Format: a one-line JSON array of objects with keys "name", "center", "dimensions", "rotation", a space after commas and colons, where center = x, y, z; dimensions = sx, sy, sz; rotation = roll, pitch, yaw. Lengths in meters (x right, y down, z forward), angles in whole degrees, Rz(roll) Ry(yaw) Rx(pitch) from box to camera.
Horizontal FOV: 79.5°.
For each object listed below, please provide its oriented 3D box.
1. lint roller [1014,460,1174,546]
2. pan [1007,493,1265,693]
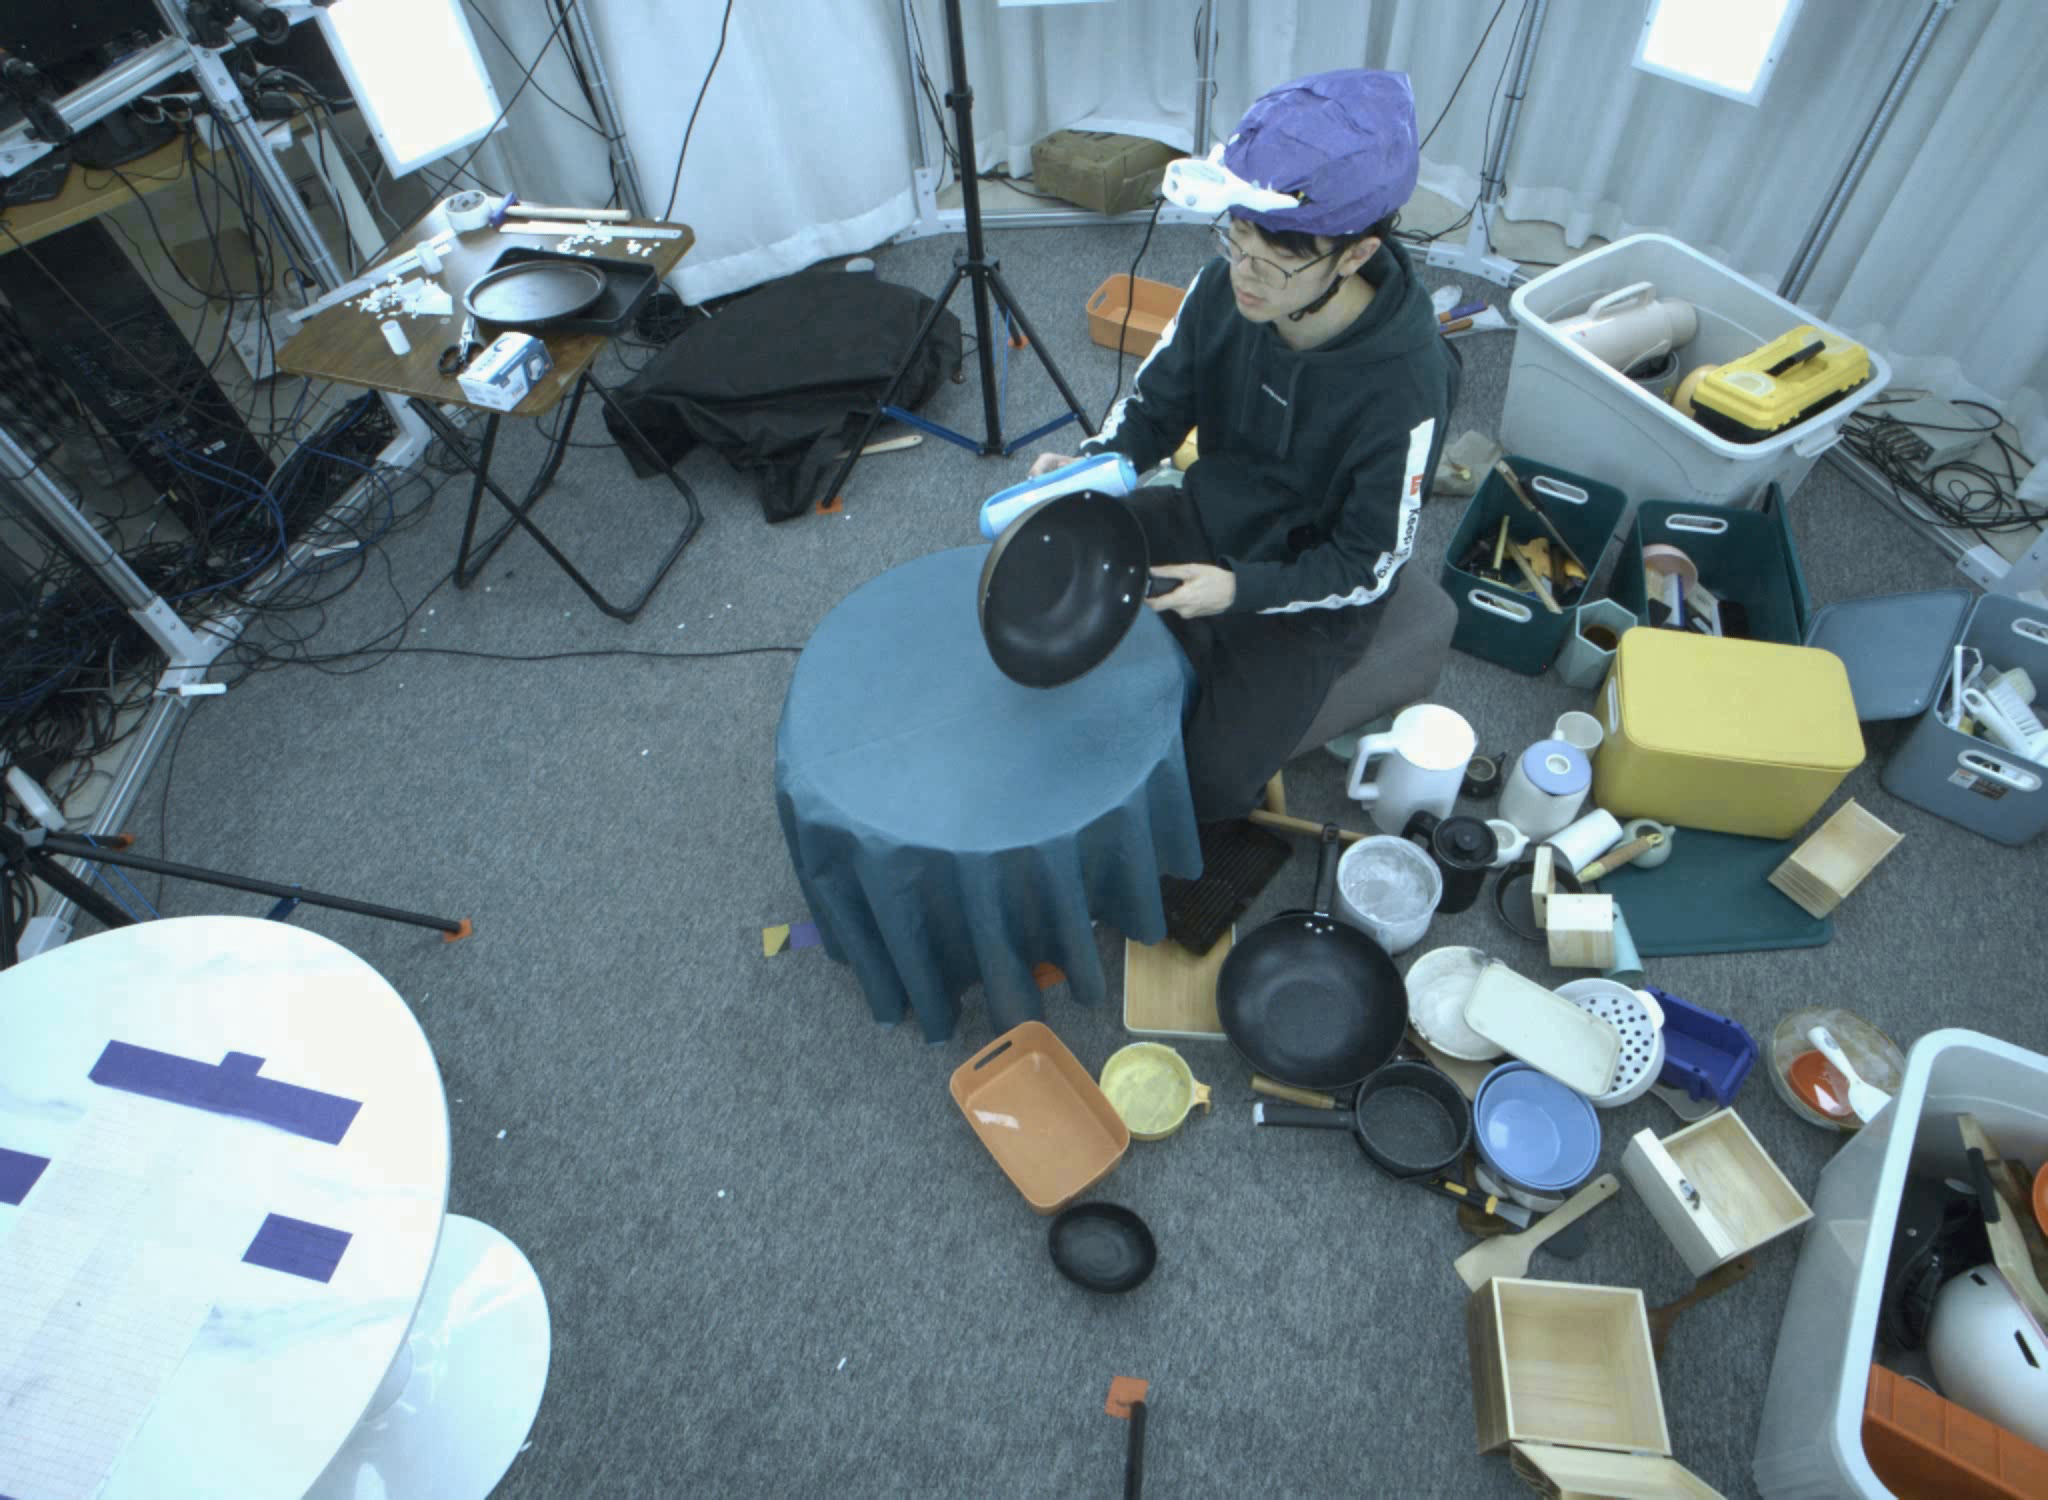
[{"name": "lint roller", "center": [0.095, -0.357, 1.736], "dimensions": [0.228, 0.069, 0.179], "rotation": [-20, 21, 8]}, {"name": "pan", "center": [0.155, -0.230, 1.724], "dimensions": [0.472, 0.289, 0.085], "rotation": [-6, 32, -37]}]
